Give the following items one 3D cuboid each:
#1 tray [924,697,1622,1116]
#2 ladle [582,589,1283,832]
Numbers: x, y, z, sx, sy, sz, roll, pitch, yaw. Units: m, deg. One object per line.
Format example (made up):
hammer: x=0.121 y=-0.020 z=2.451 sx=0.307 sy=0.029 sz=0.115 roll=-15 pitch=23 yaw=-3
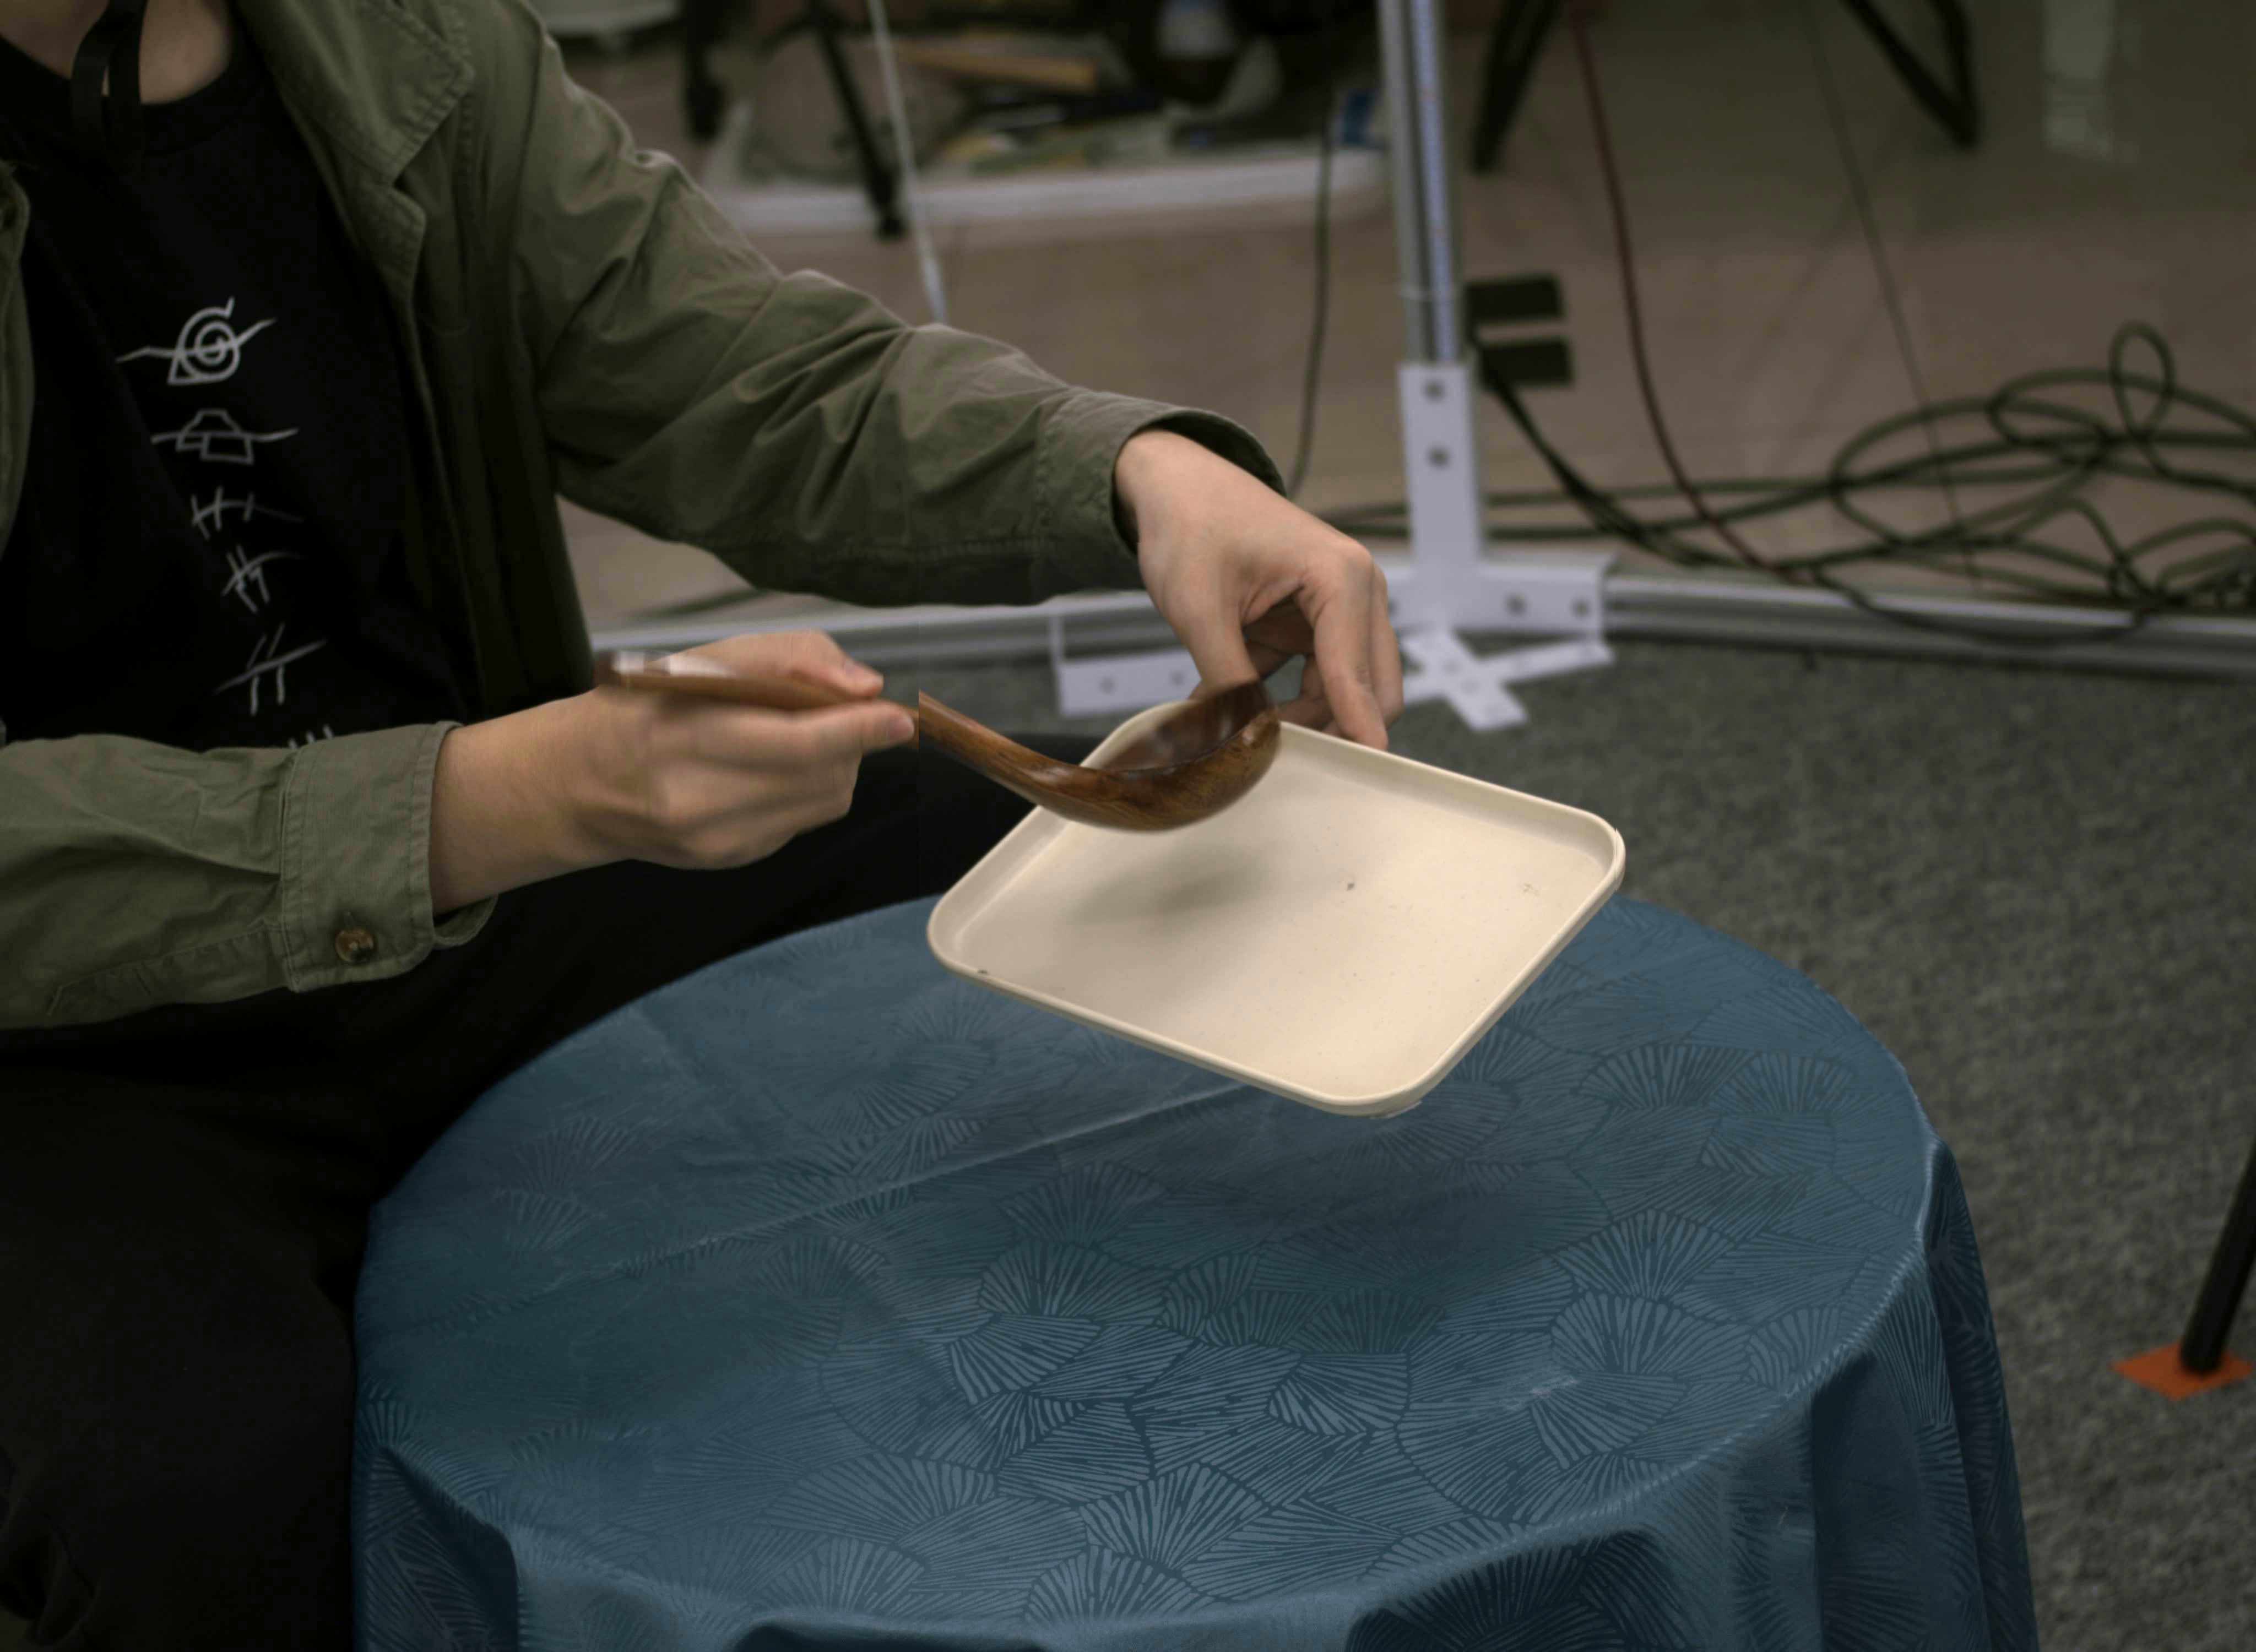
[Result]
tray: x=0.053 y=0.029 z=2.112 sx=0.238 sy=0.018 sz=0.169 roll=19 pitch=51 yaw=37
ladle: x=-0.066 y=-0.063 z=2.057 sx=0.275 sy=0.076 sz=0.082 roll=22 pitch=-20 yaw=-26
